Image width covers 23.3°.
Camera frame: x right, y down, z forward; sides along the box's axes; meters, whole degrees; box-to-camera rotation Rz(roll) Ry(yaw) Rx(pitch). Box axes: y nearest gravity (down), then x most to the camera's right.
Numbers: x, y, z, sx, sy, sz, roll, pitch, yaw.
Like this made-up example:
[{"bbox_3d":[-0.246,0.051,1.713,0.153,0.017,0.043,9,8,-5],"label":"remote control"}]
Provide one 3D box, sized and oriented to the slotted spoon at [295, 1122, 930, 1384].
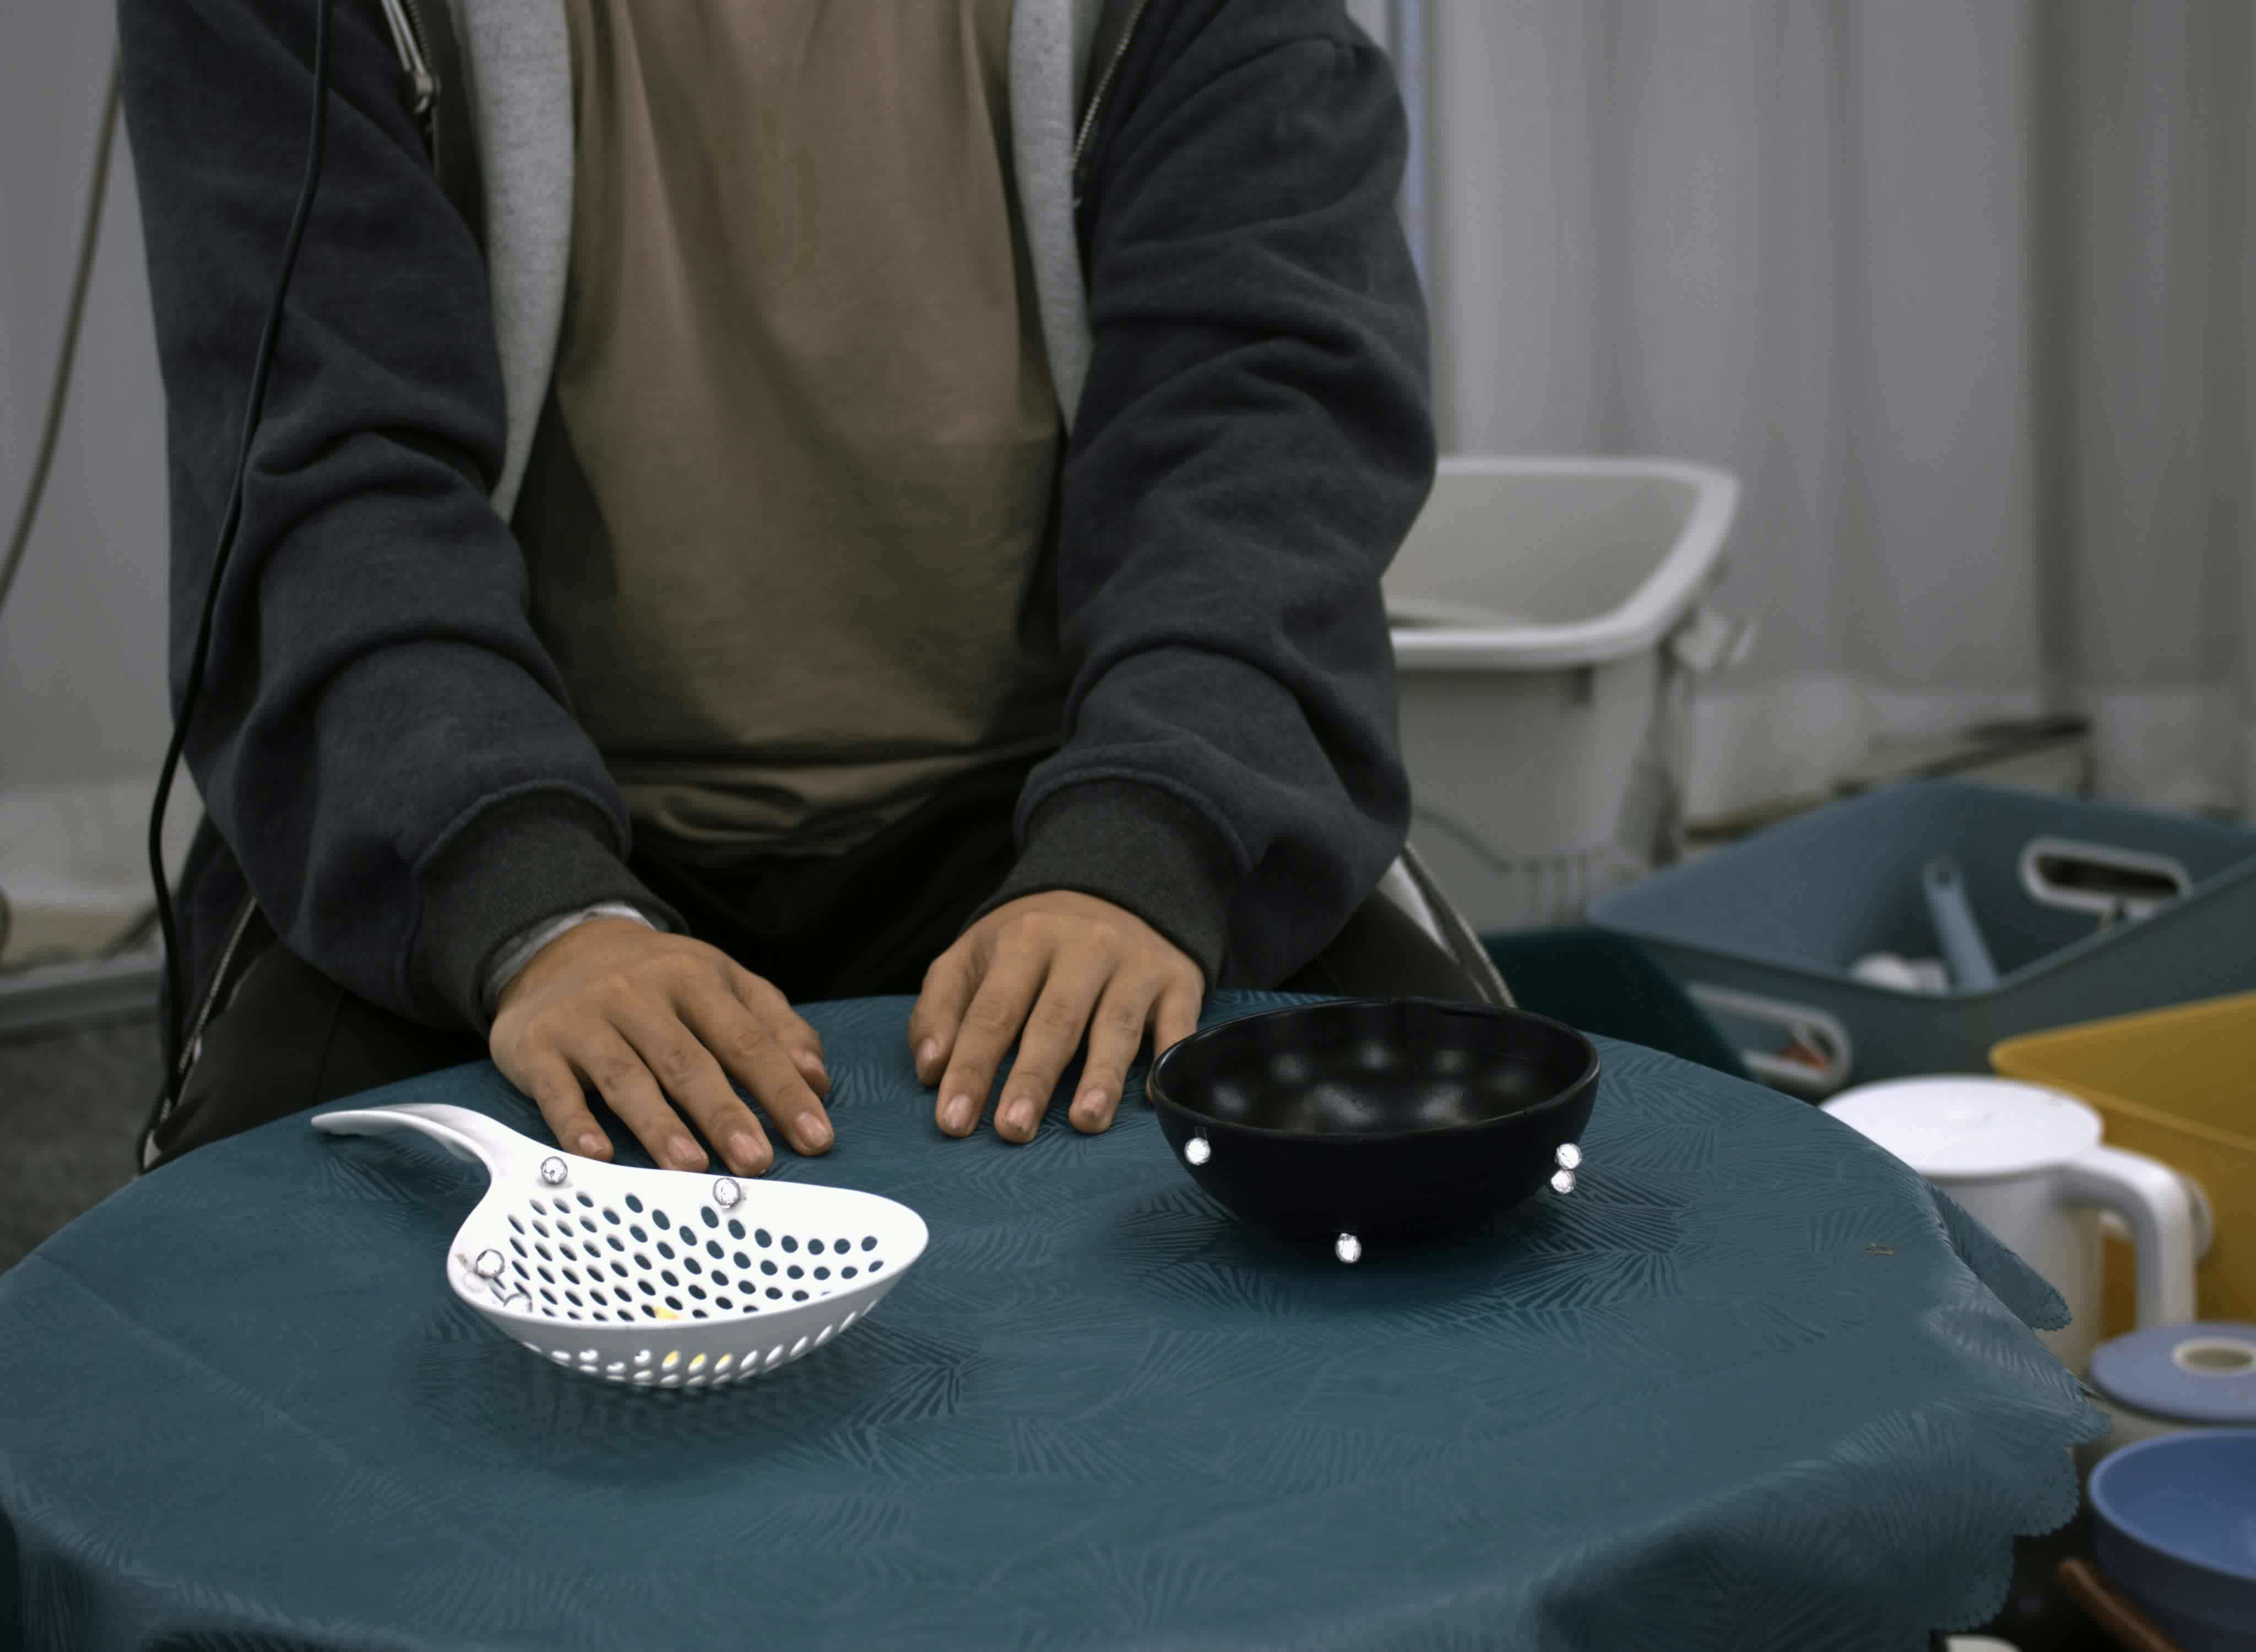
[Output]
[{"bbox_3d":[-0.179,0.116,1.668,0.136,0.050,0.350,-15,18,-27],"label":"slotted spoon"}]
